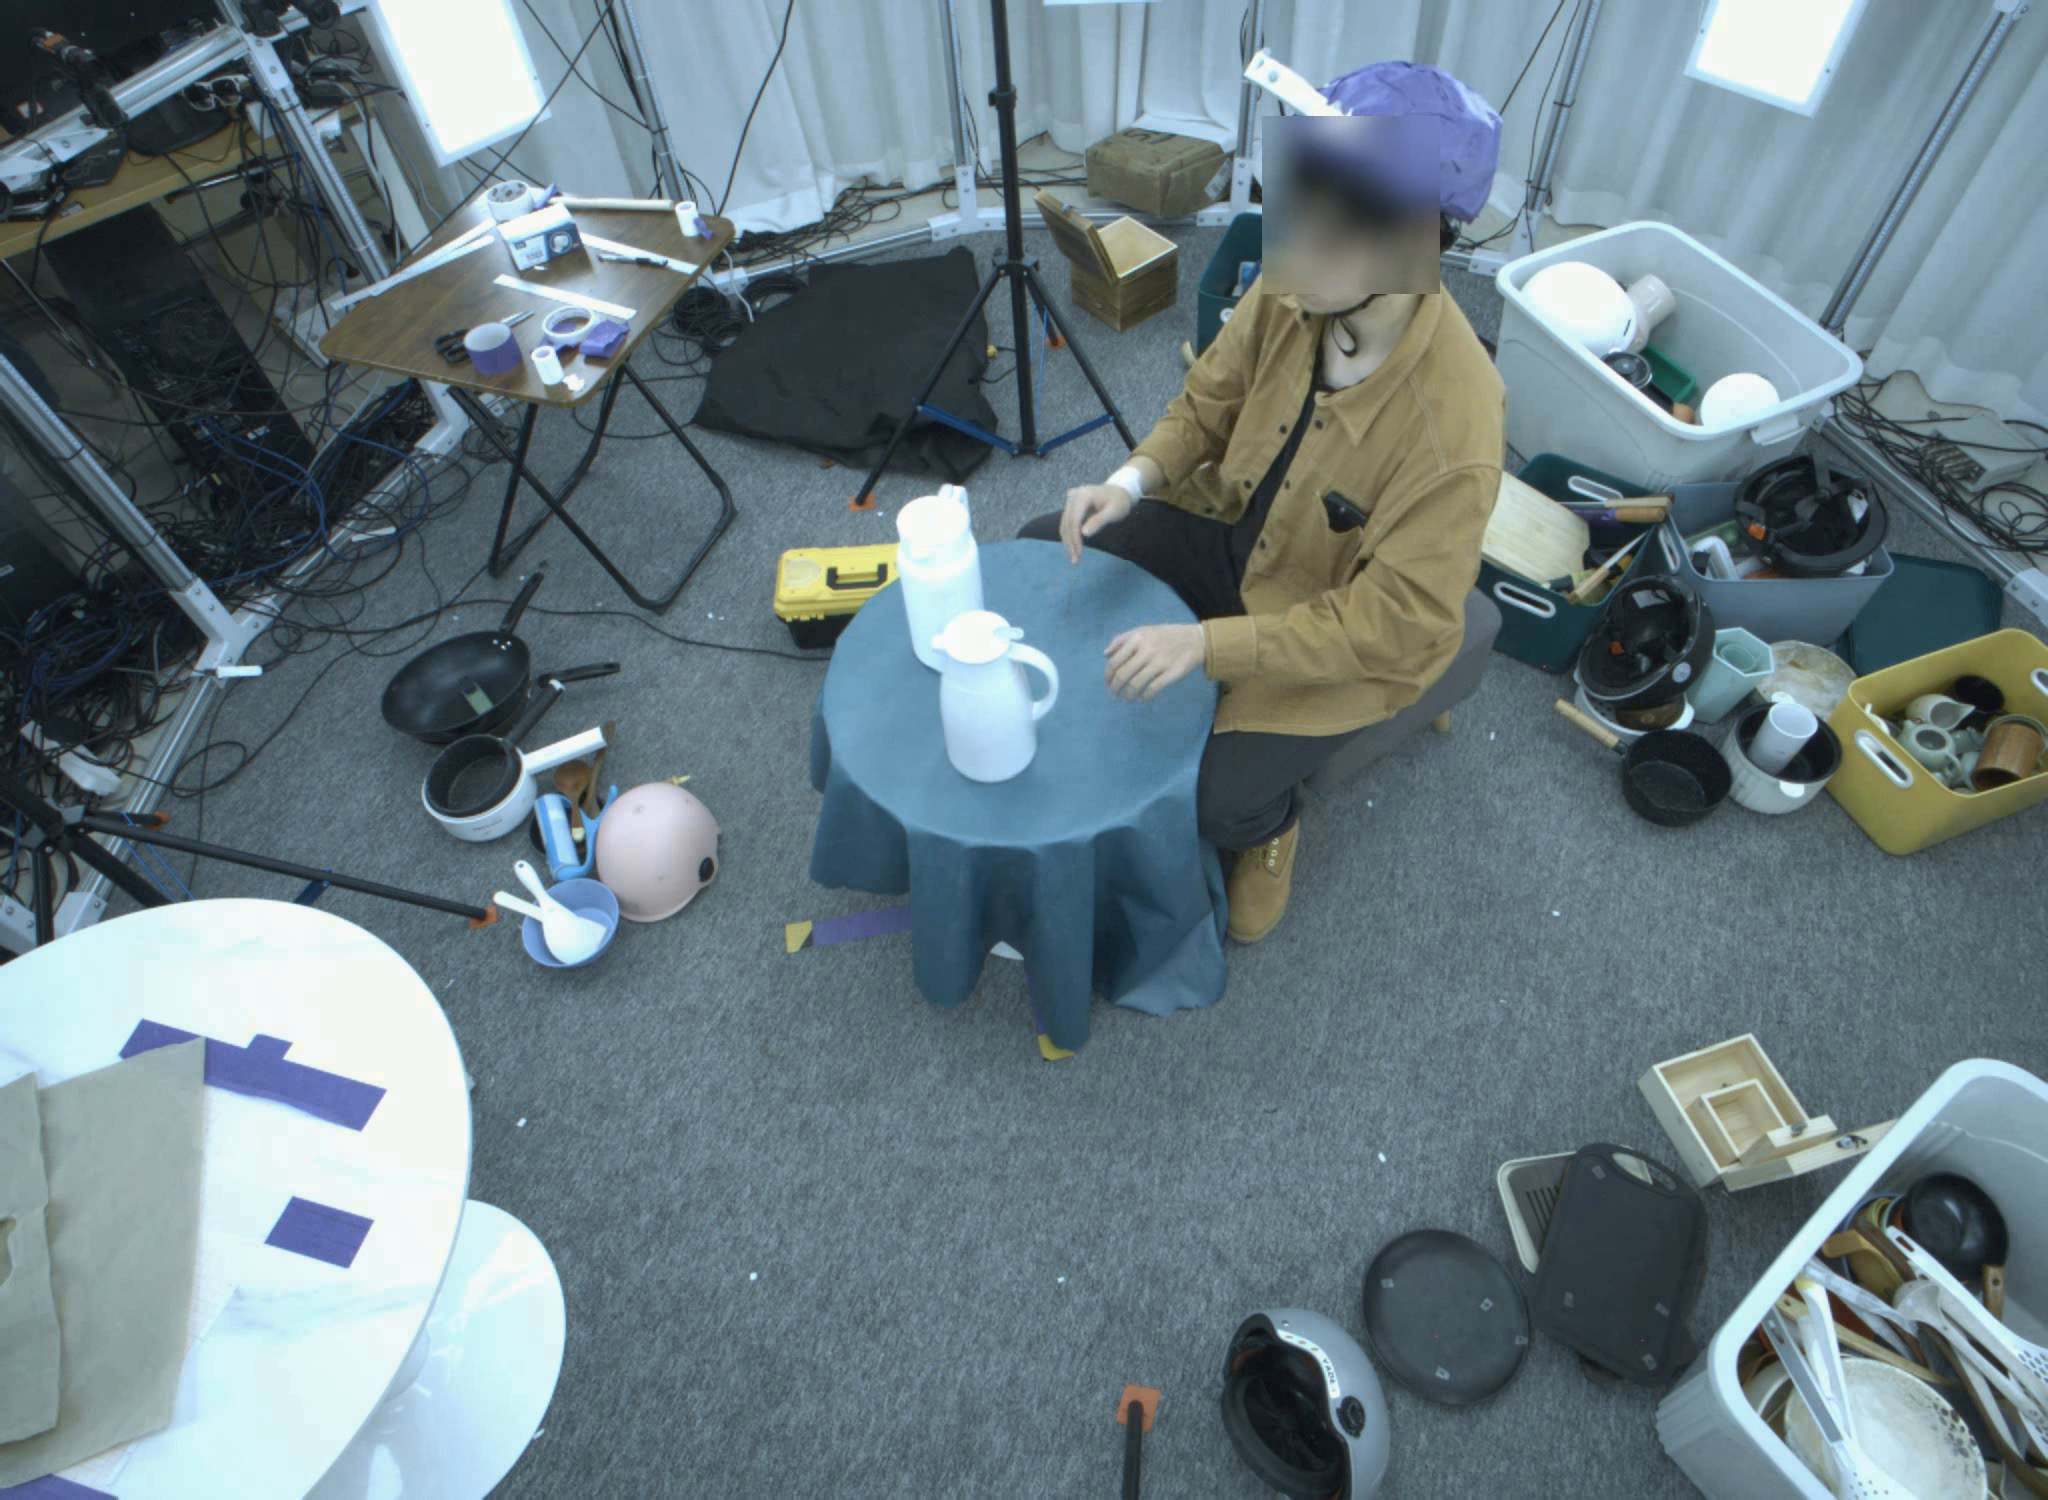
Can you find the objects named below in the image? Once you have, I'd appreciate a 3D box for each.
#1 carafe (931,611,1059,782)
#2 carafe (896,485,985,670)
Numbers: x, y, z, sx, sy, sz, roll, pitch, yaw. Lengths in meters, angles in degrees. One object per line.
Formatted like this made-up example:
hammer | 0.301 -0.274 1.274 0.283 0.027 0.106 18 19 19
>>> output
carafe | -0.036 -0.079 1.687 0.167 0.251 0.131 2 55 4
carafe | -0.119 -0.256 1.805 0.123 0.272 0.172 9 55 12
